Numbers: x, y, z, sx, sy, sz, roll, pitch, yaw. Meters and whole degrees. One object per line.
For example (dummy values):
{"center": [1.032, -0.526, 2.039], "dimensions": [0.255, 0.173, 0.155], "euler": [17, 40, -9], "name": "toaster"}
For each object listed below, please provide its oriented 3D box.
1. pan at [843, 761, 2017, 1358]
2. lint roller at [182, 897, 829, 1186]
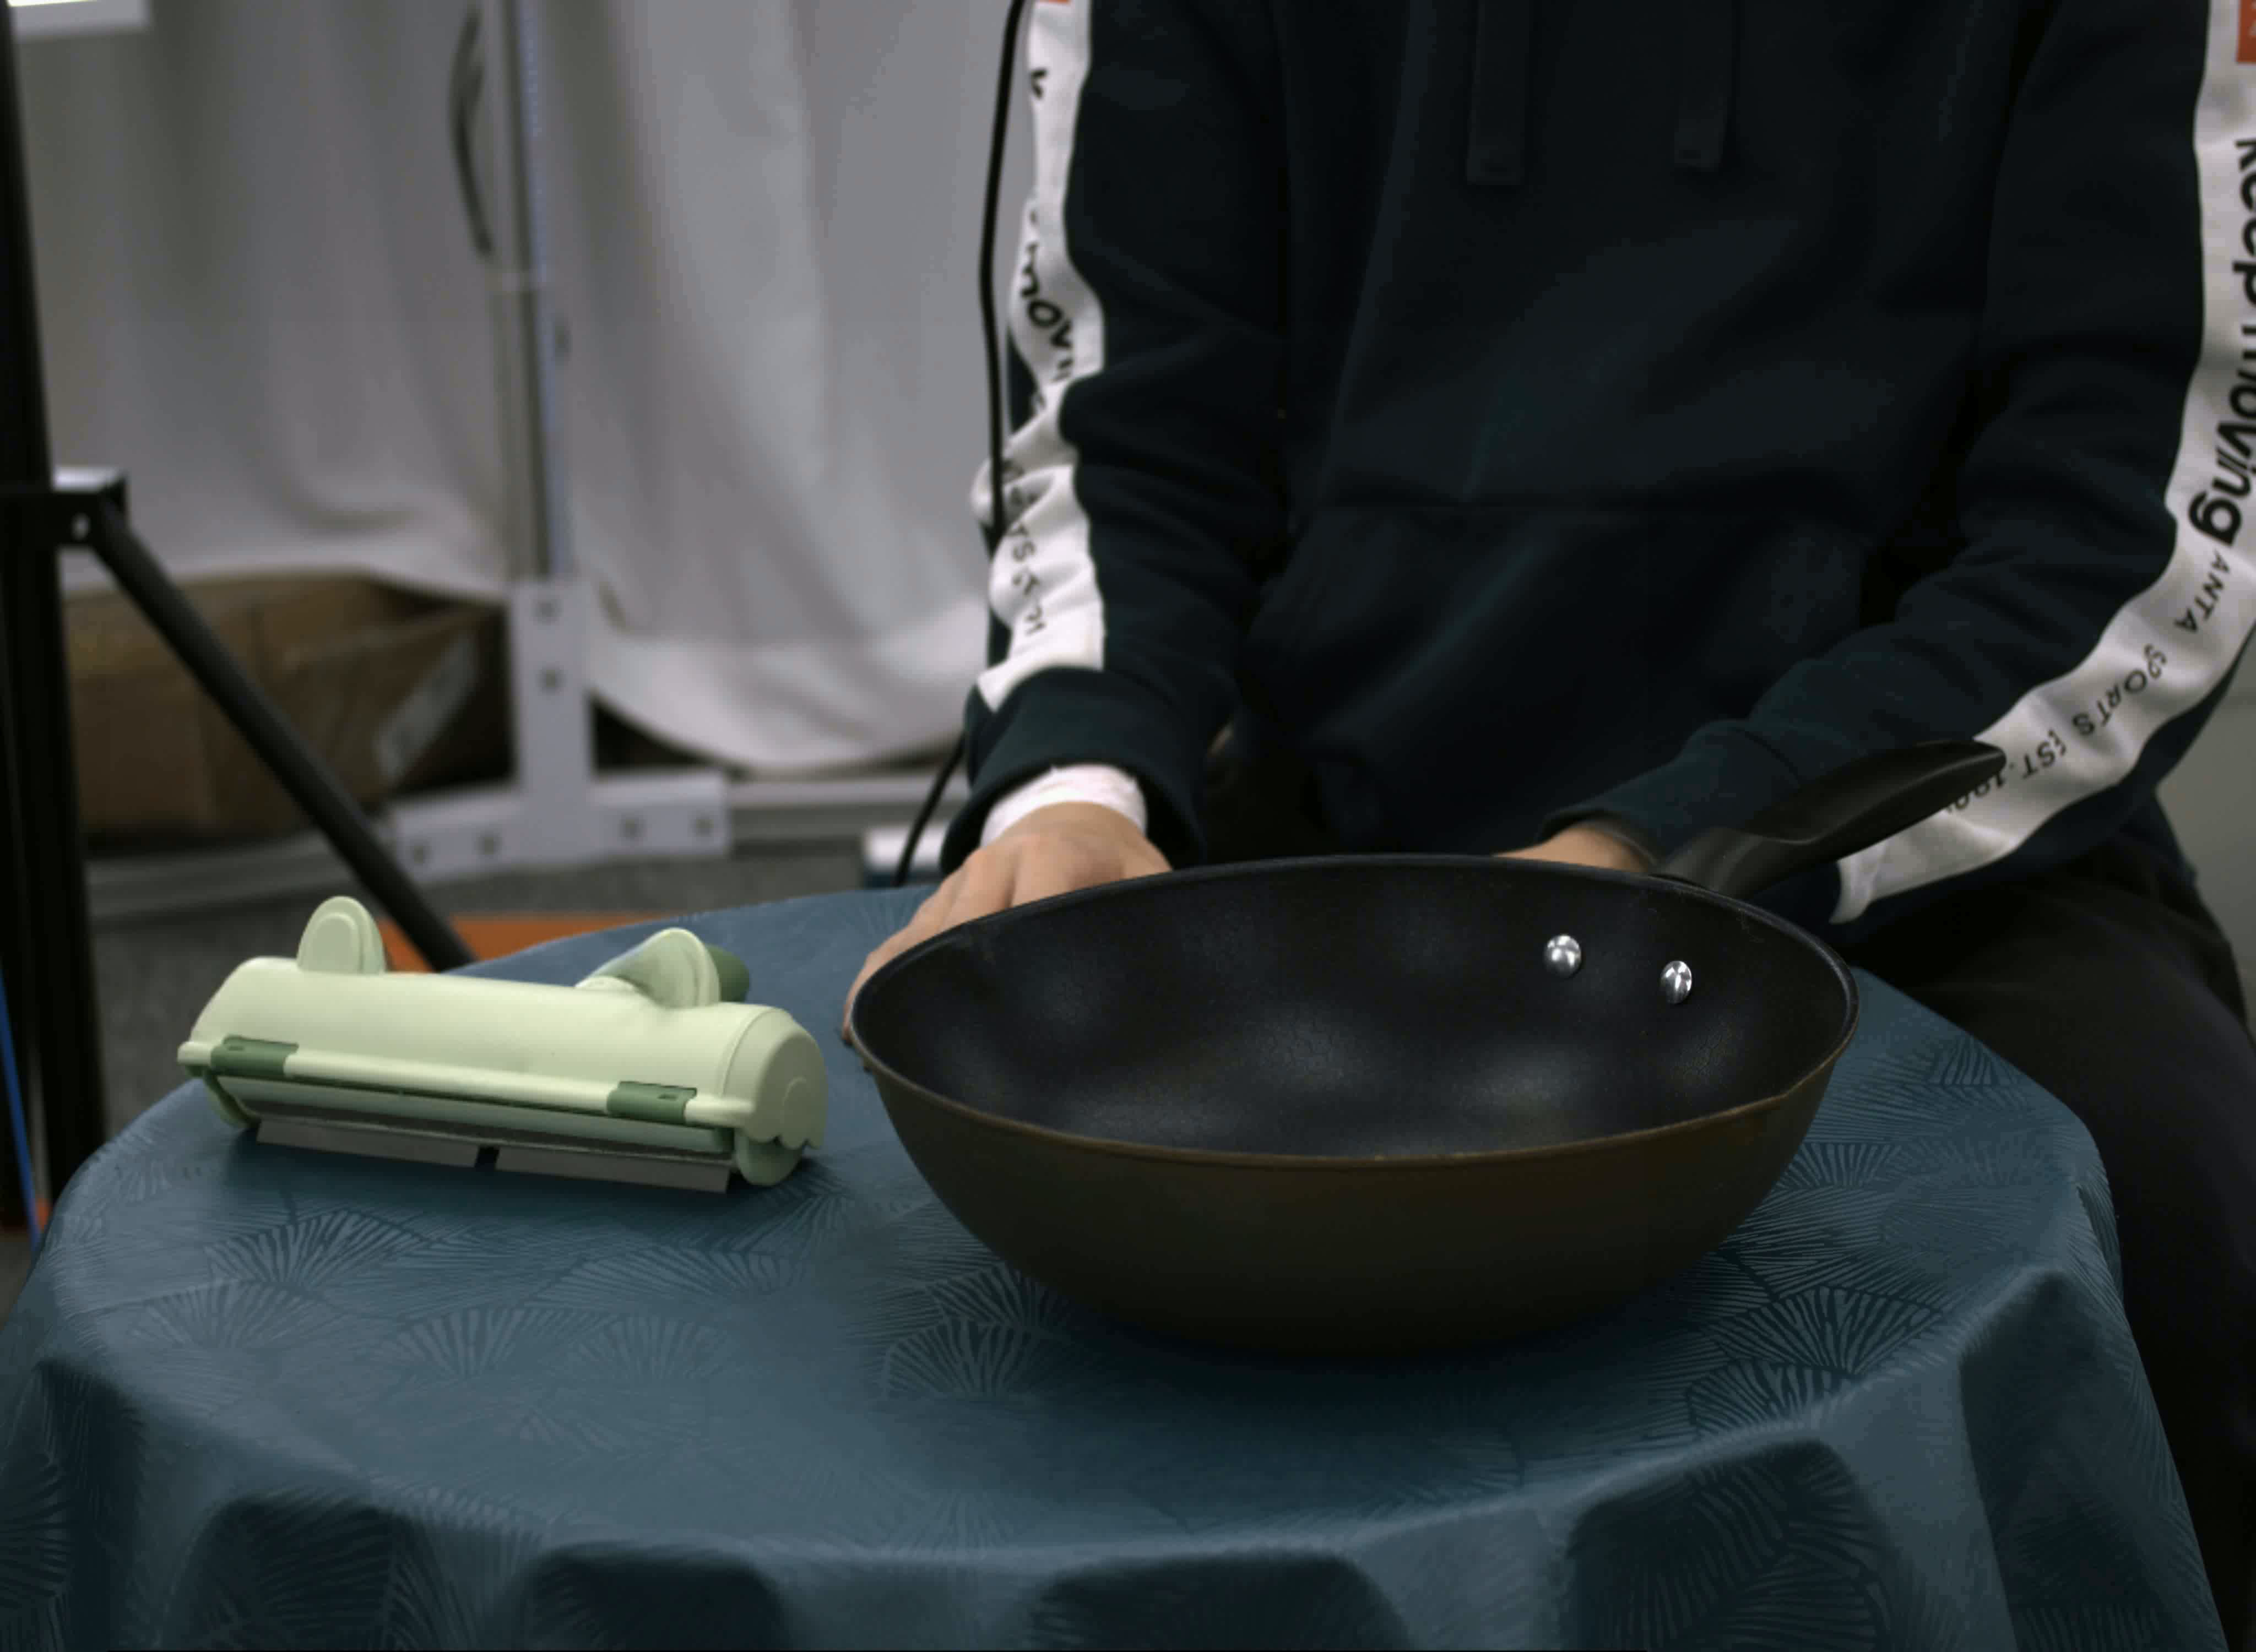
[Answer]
{"center": [0.121, 0.064, 1.542], "dimensions": [0.294, 0.087, 0.453], "euler": [11, 19, 40], "name": "pan"}
{"center": [-0.167, 0.048, 1.660], "dimensions": [0.201, 0.082, 0.181], "euler": [4, 23, 25], "name": "lint roller"}
